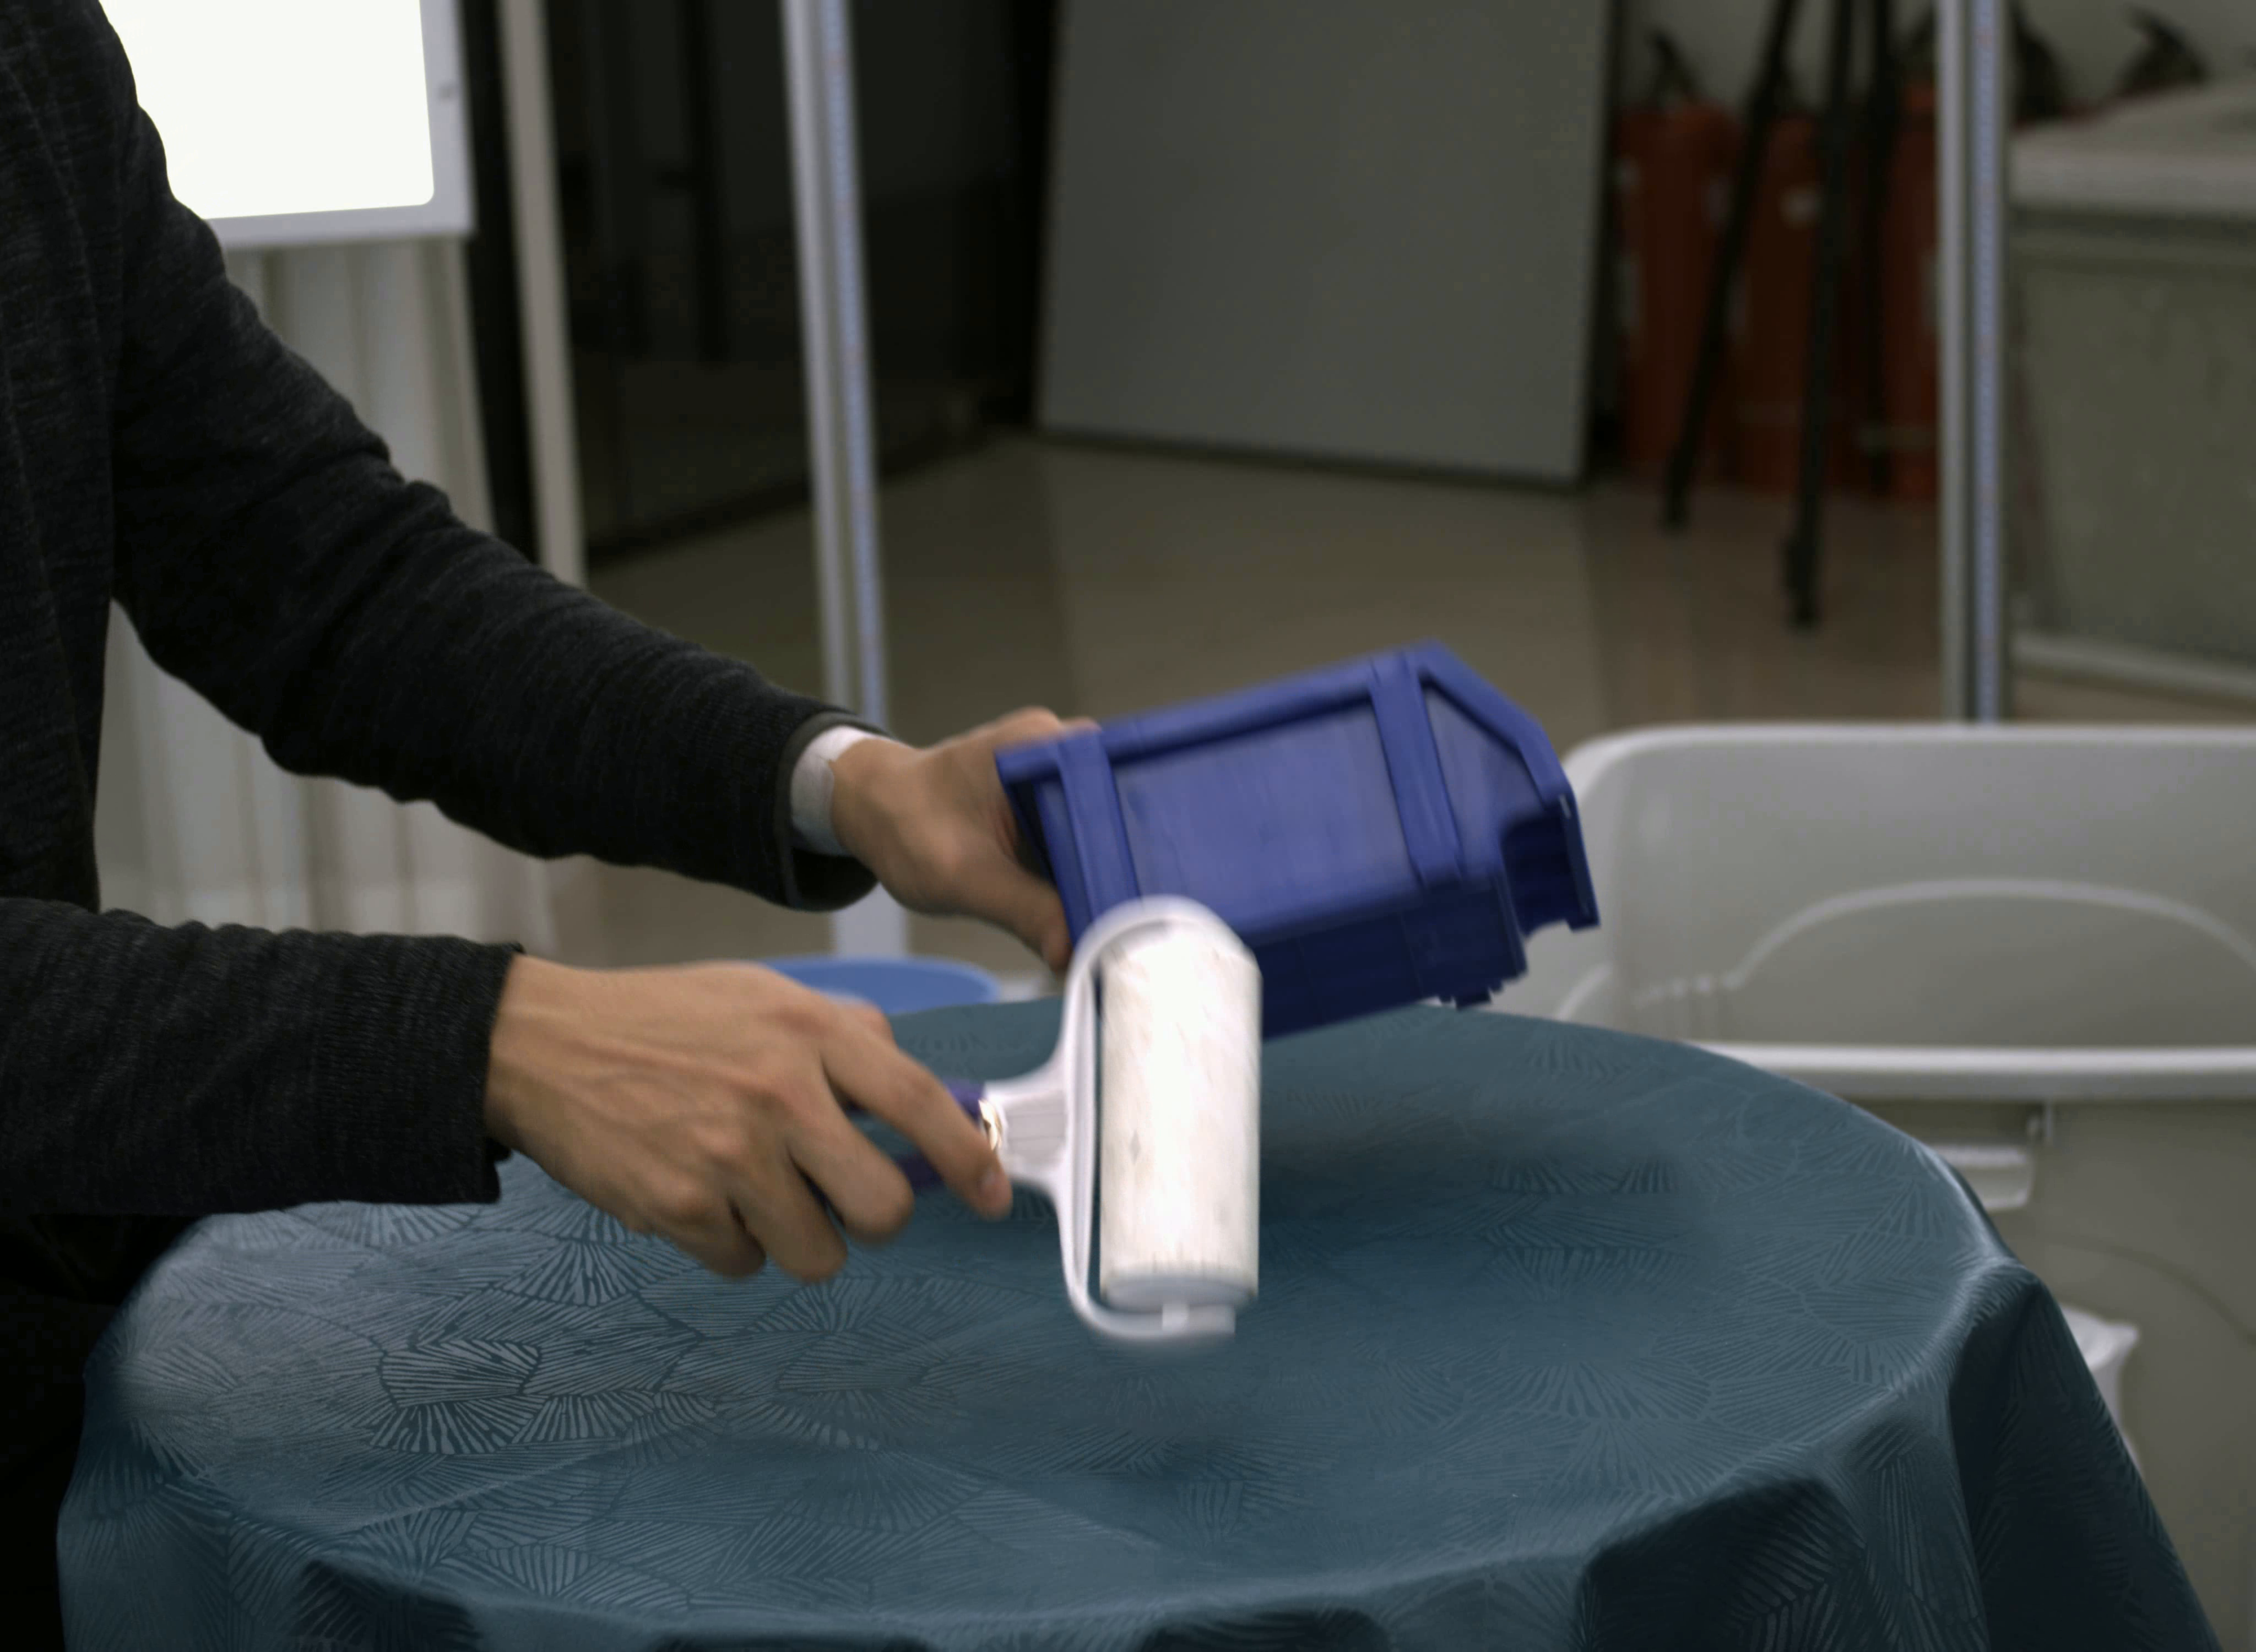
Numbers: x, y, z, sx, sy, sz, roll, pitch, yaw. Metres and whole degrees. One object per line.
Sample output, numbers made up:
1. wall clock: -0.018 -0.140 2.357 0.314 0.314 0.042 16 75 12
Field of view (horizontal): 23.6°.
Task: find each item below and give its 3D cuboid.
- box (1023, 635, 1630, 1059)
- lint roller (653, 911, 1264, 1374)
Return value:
1. box: 0.070 0.013 1.771 0.178 0.083 0.124 -17 -24 5
2. lint roller: -0.049 0.088 1.555 0.179 0.134 0.050 3 -21 4
